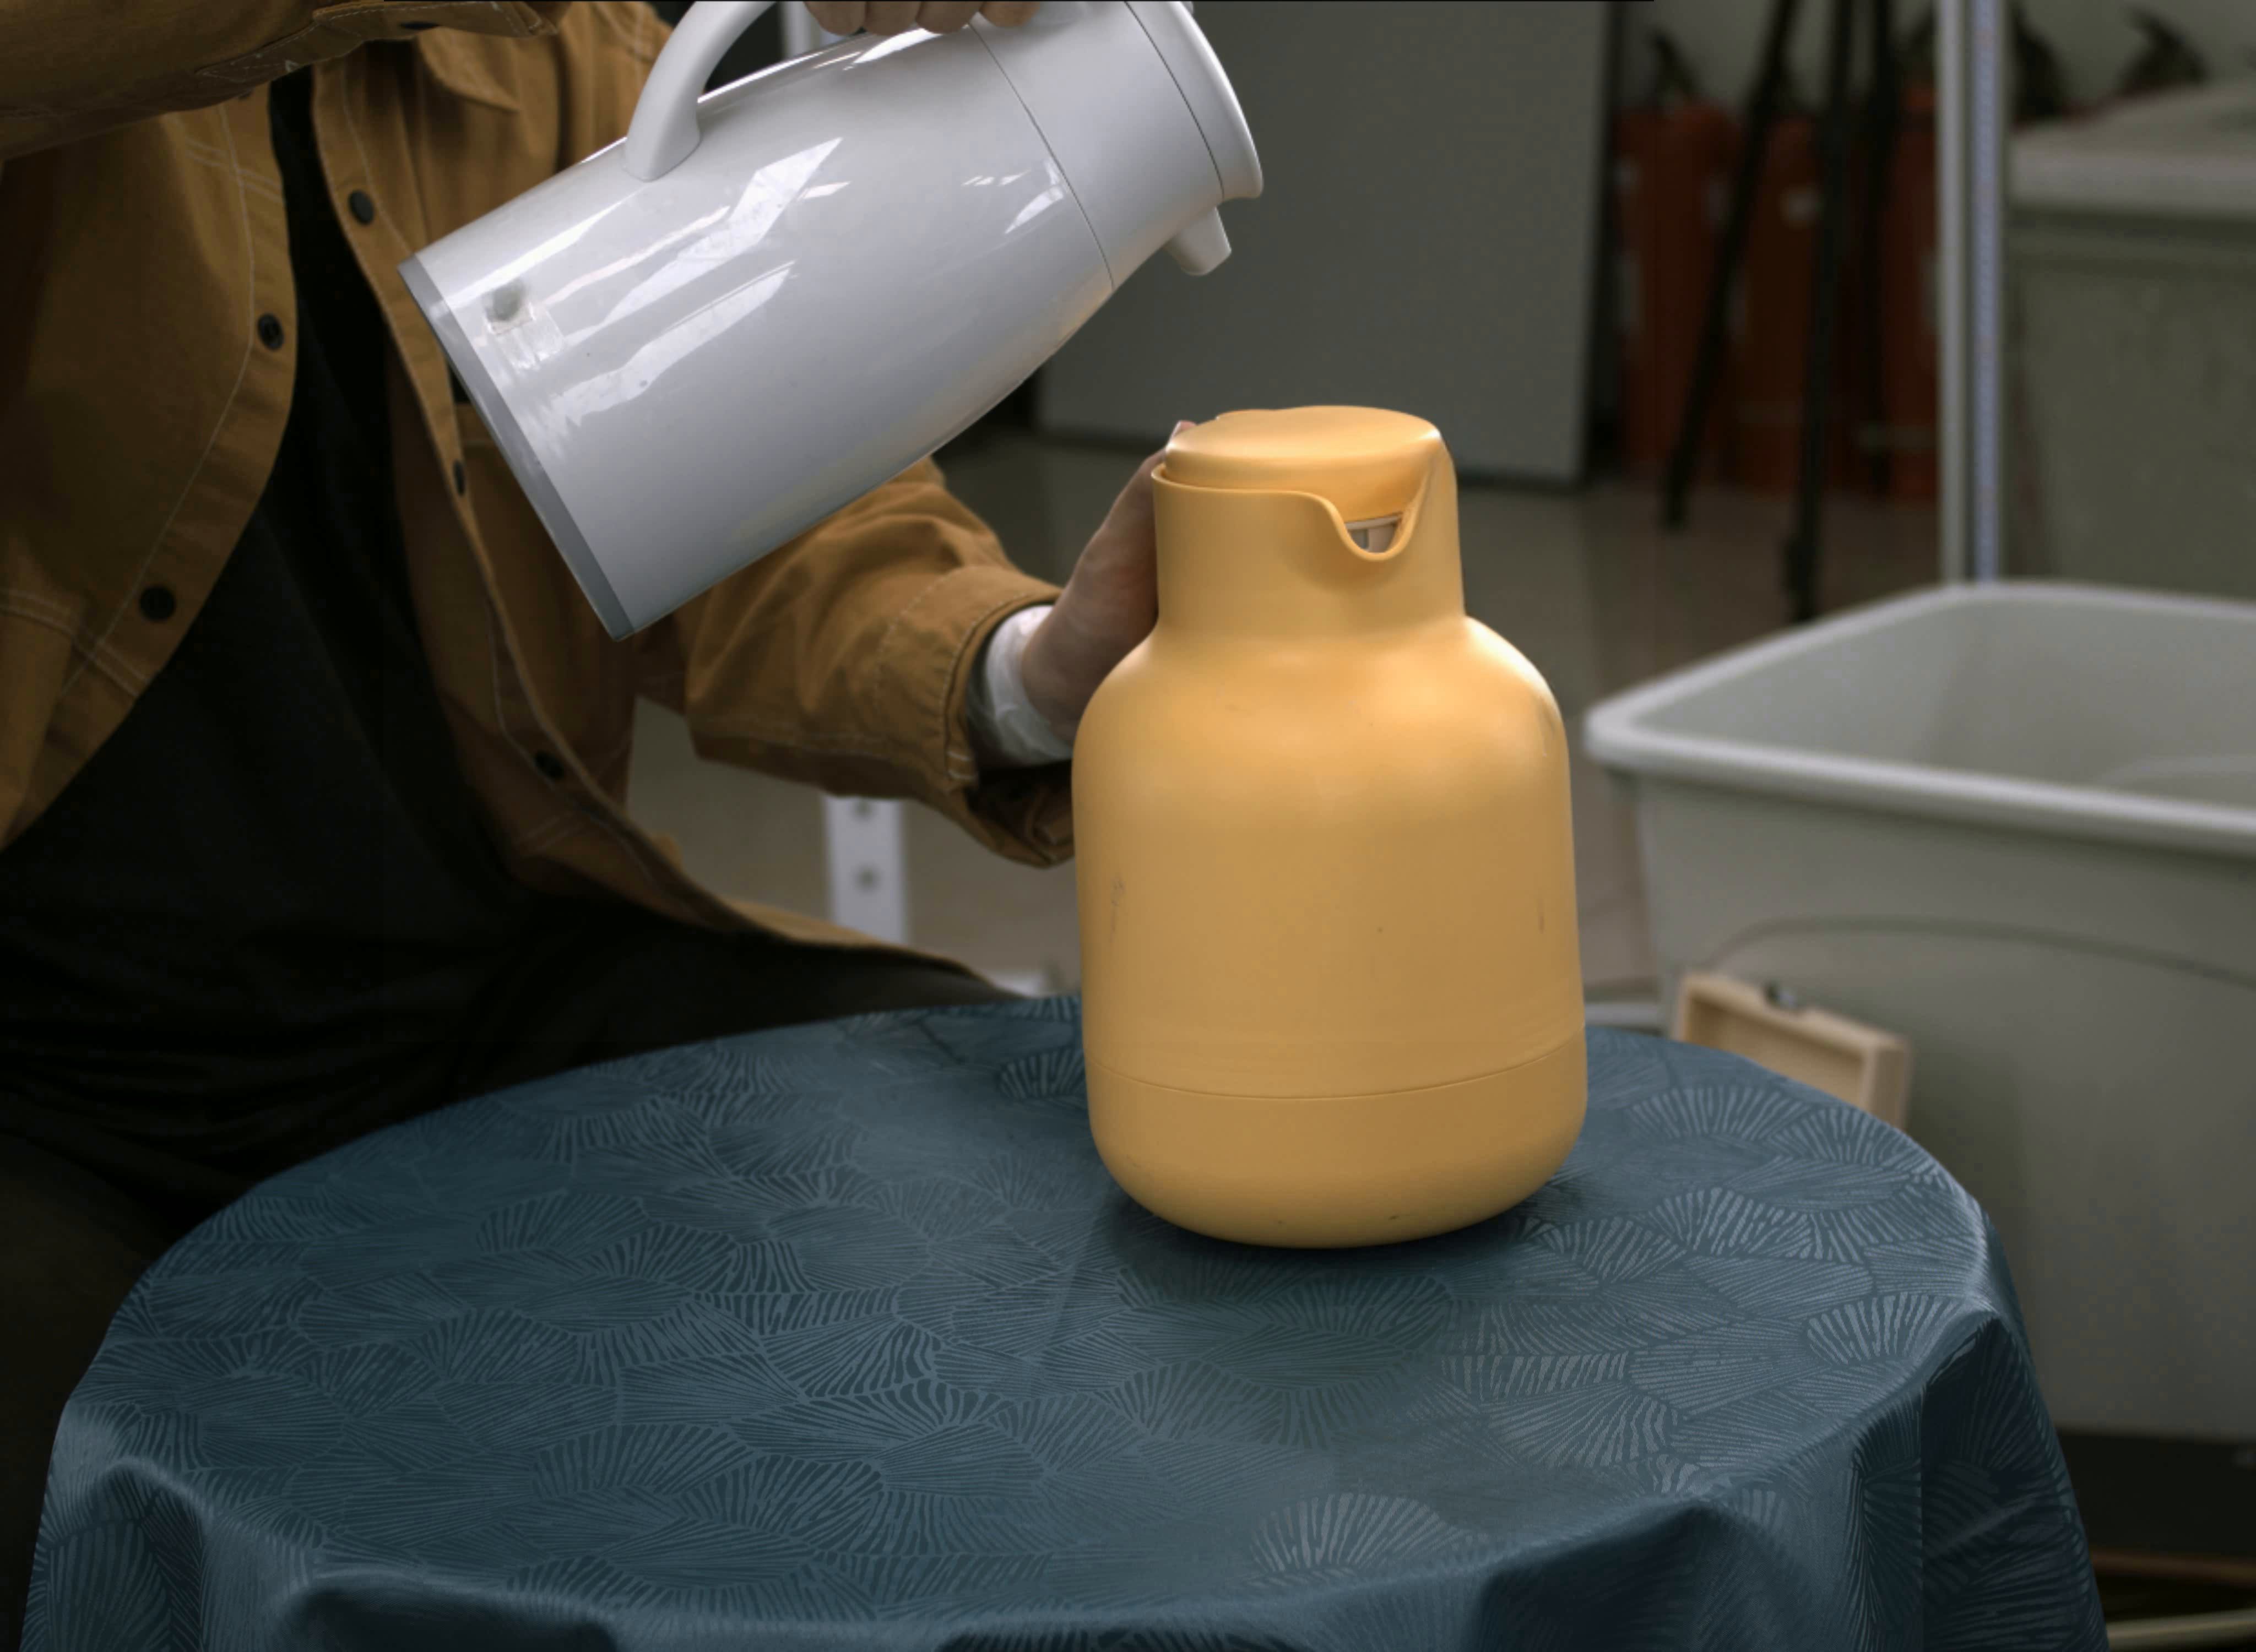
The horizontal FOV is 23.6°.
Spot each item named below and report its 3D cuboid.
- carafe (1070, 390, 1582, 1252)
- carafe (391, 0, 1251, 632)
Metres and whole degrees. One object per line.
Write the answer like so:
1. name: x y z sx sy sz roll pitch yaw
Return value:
1. carafe: 0.058 -0.010 1.740 0.160 0.263 0.204 -5 14 -12
2. carafe: -0.091 -0.192 1.619 0.247 0.167 0.134 -32 36 -3
